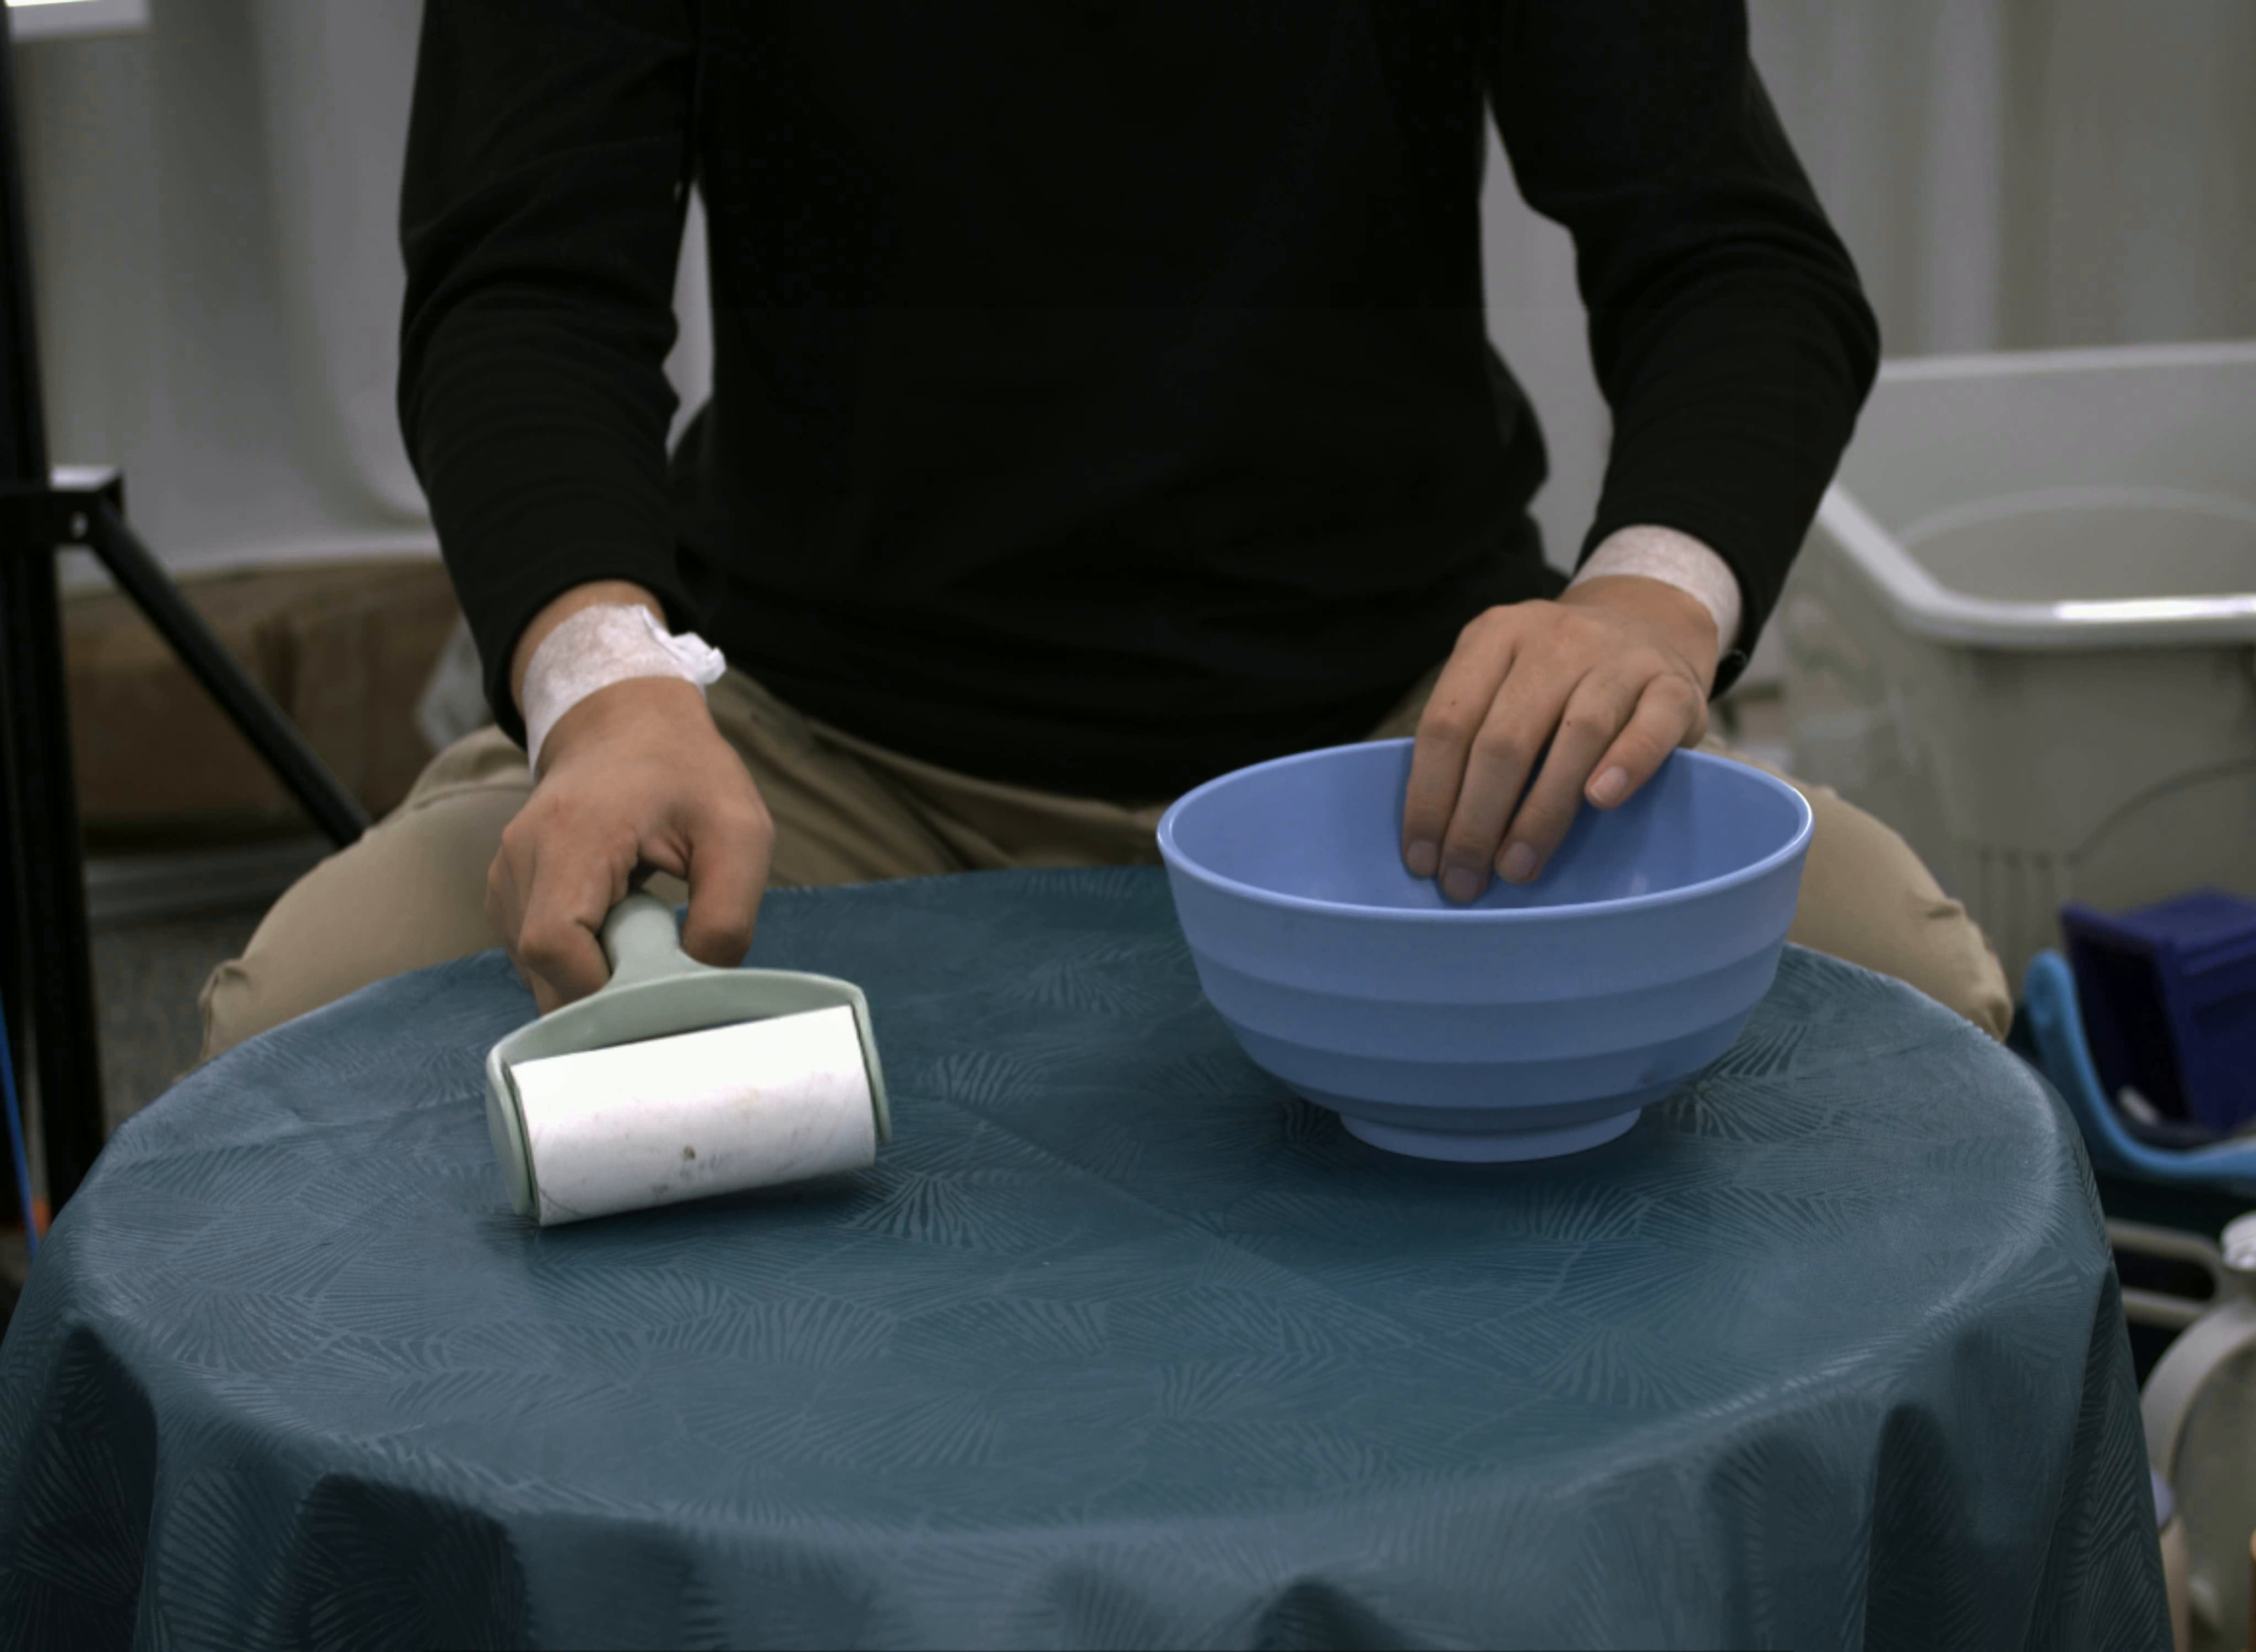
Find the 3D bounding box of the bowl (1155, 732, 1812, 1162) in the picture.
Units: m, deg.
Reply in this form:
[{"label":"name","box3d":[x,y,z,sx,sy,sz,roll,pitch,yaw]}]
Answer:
[{"label":"bowl","box3d":[0.108,0.042,1.596,0.195,0.095,0.197,-4,16,0]}]

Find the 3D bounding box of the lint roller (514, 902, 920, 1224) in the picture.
[{"label":"lint roller","box3d":[-0.136,0.056,1.624,0.115,0.048,0.200,-12,25,-10]}]
